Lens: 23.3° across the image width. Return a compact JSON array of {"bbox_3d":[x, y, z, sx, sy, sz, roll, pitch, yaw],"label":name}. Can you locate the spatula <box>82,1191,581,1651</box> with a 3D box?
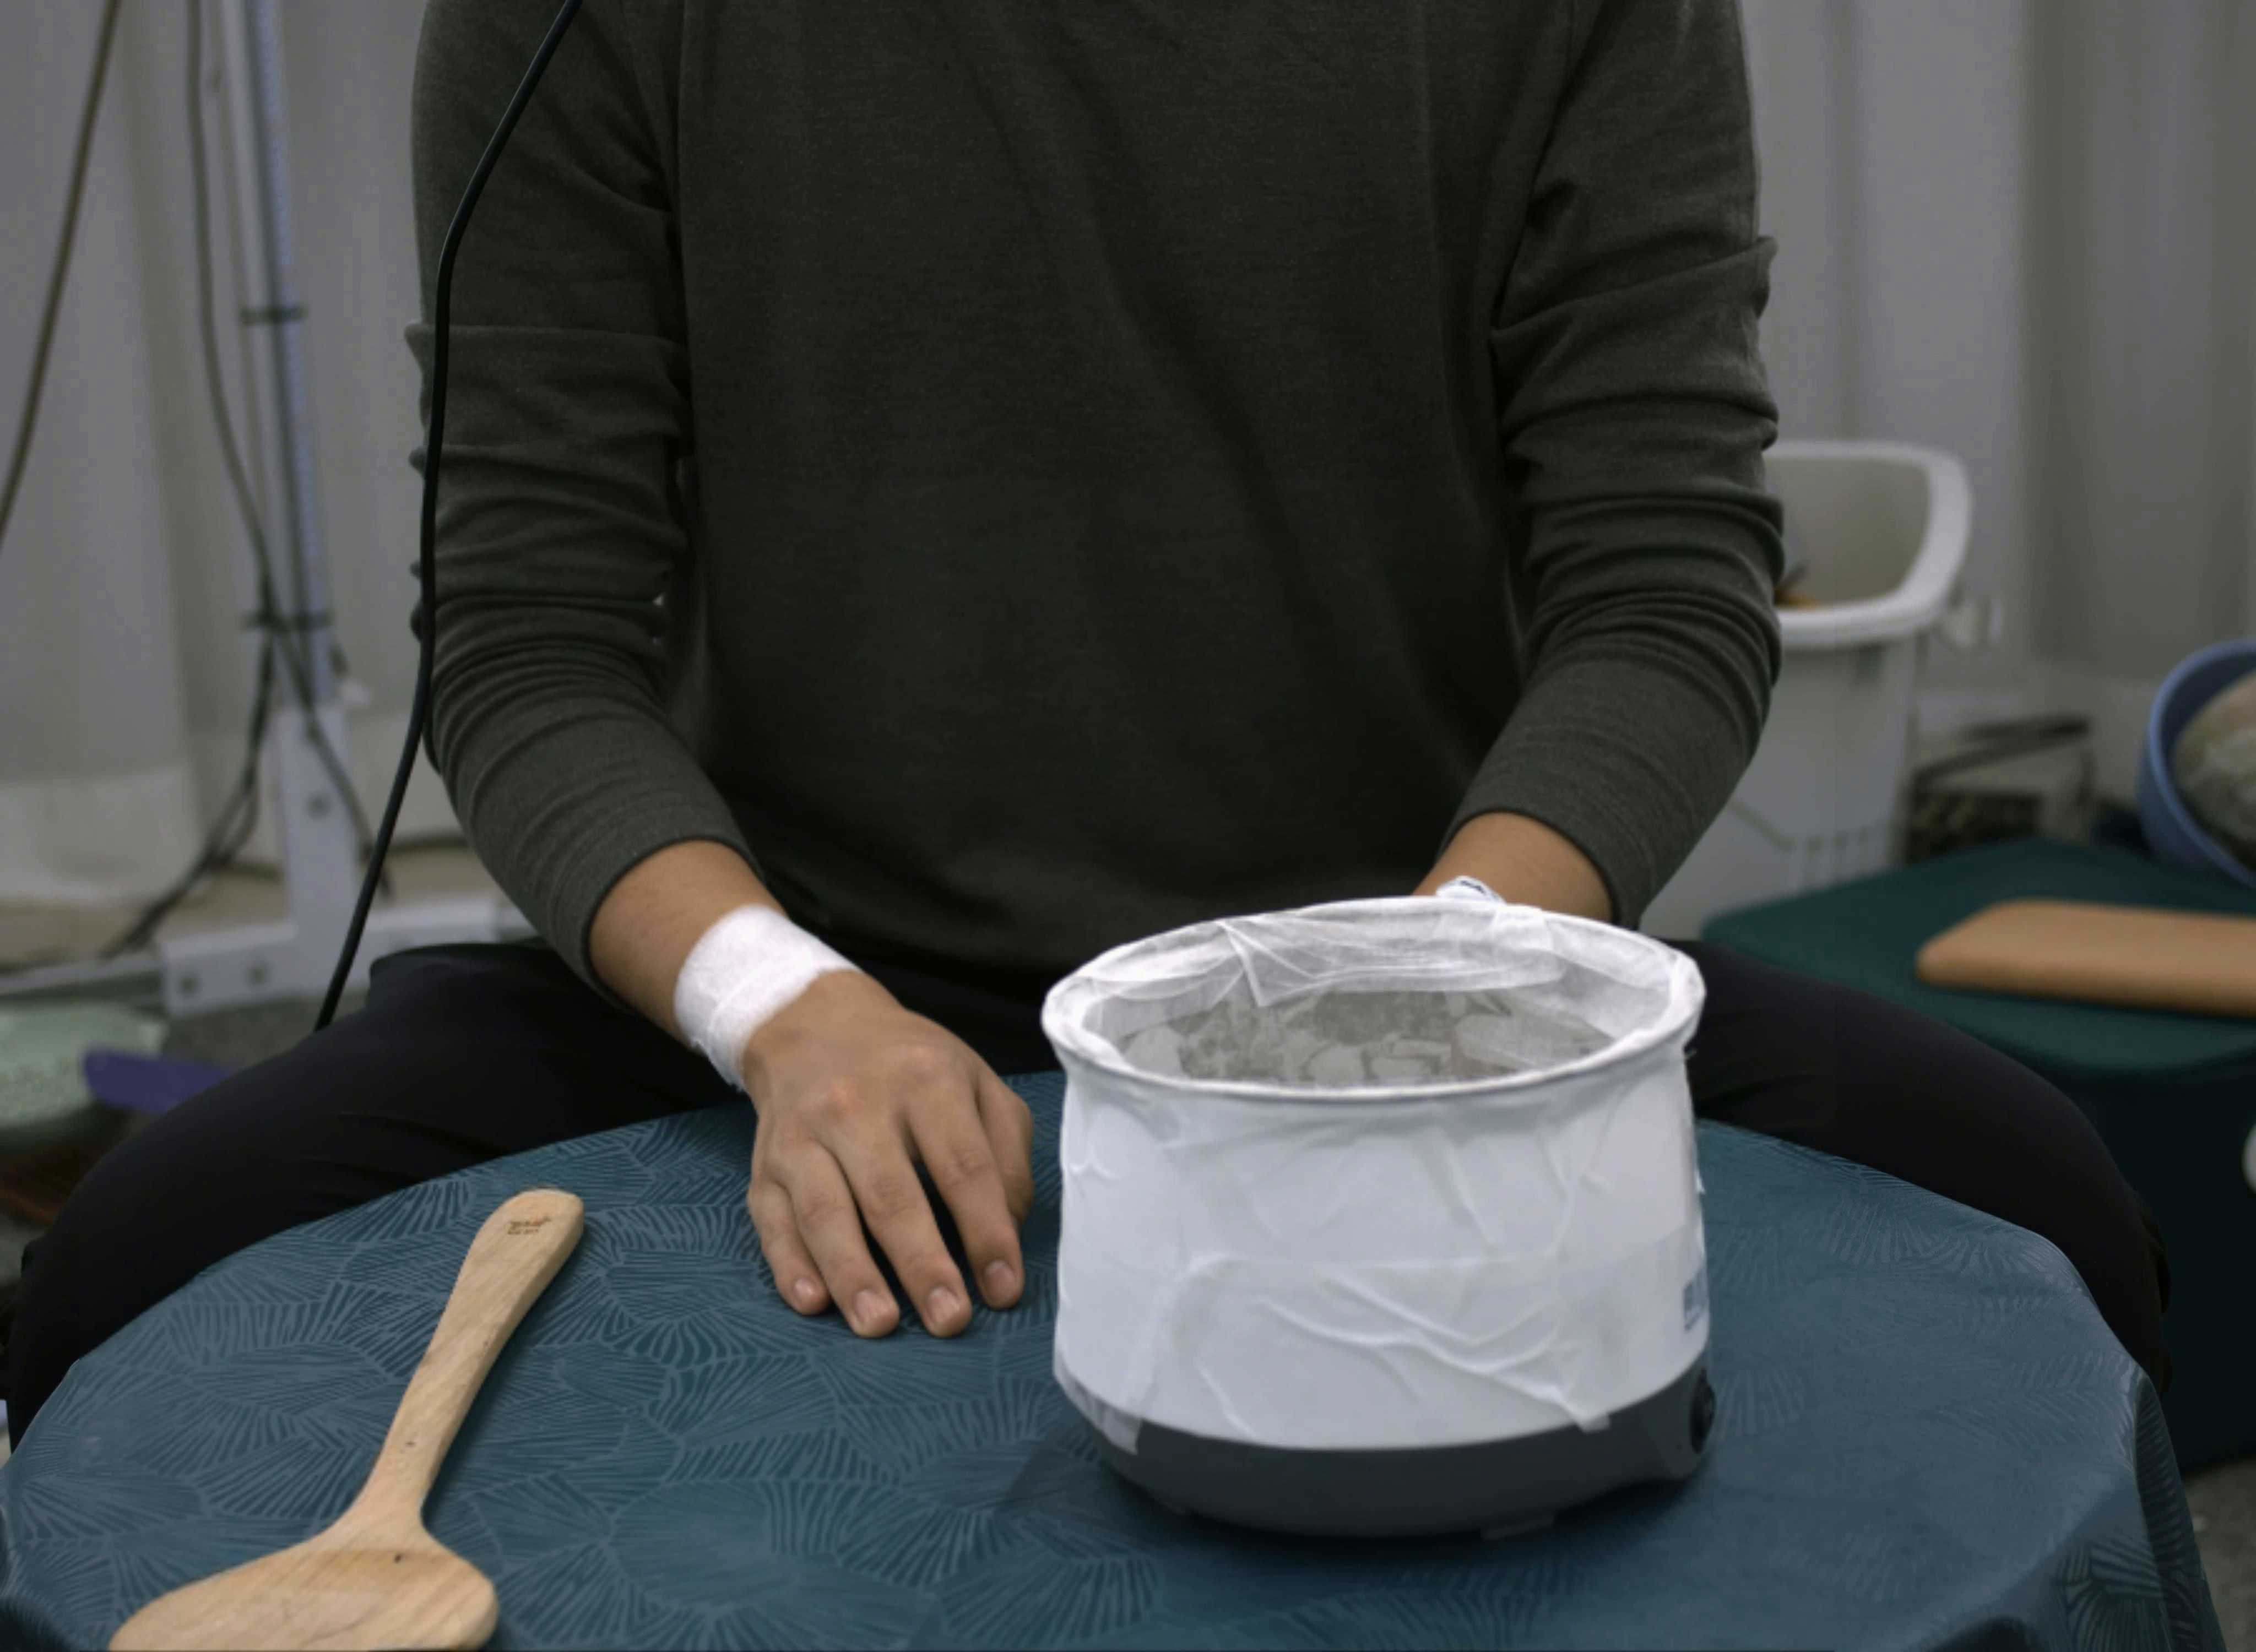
[{"bbox_3d":[-0.201,0.165,1.533,0.095,0.018,0.393,0,15,4],"label":"spatula"}]

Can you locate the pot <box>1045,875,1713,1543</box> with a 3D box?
[{"bbox_3d":[0.076,0.098,1.499,0.178,0.136,0.234,2,15,17],"label":"pot"}]
